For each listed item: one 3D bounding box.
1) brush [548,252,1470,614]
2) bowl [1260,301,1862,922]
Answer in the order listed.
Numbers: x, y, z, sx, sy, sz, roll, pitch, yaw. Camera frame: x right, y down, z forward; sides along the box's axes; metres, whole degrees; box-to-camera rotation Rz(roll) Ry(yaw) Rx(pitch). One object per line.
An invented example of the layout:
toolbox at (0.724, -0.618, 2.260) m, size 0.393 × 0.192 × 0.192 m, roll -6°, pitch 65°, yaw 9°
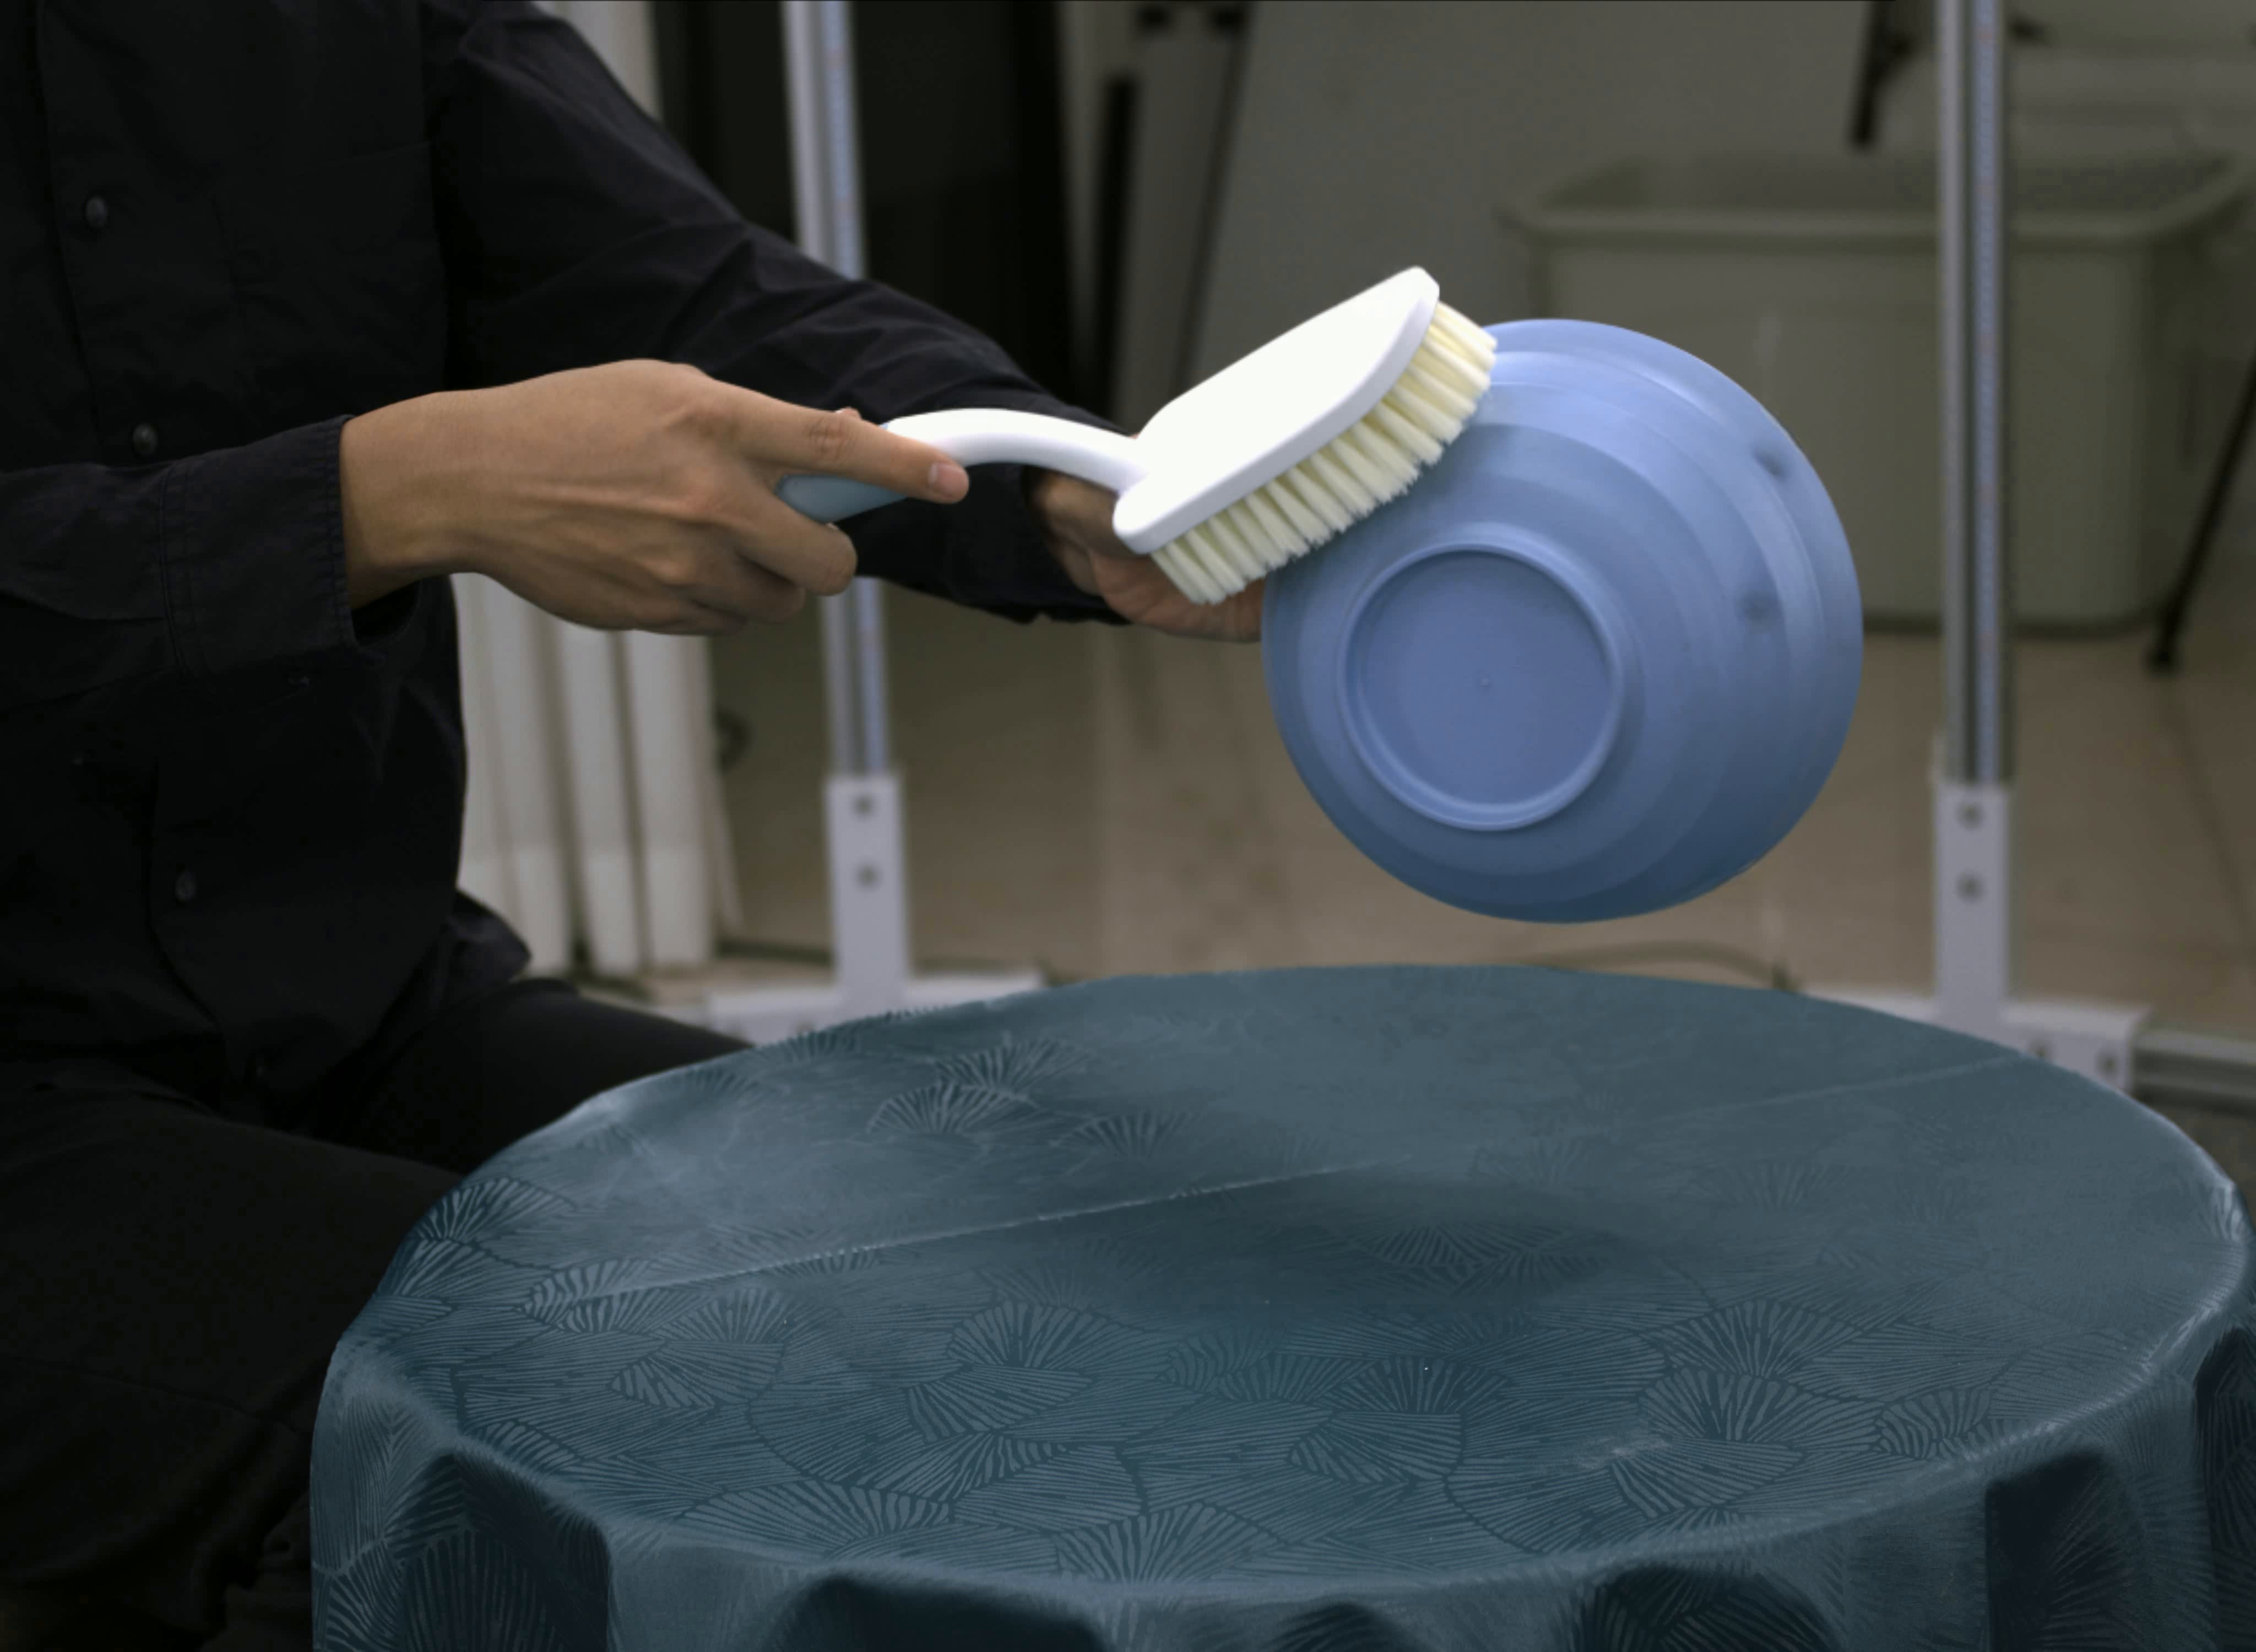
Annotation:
brush at (-0.034, -0.100, 1.698) m, size 0.326 × 0.085 × 0.082 m, roll -17°, pitch -4°, yaw 26°
bowl at (0.122, -0.057, 1.667) m, size 0.196 × 0.199 × 0.094 m, roll 2°, pitch 14°, yaw 22°
